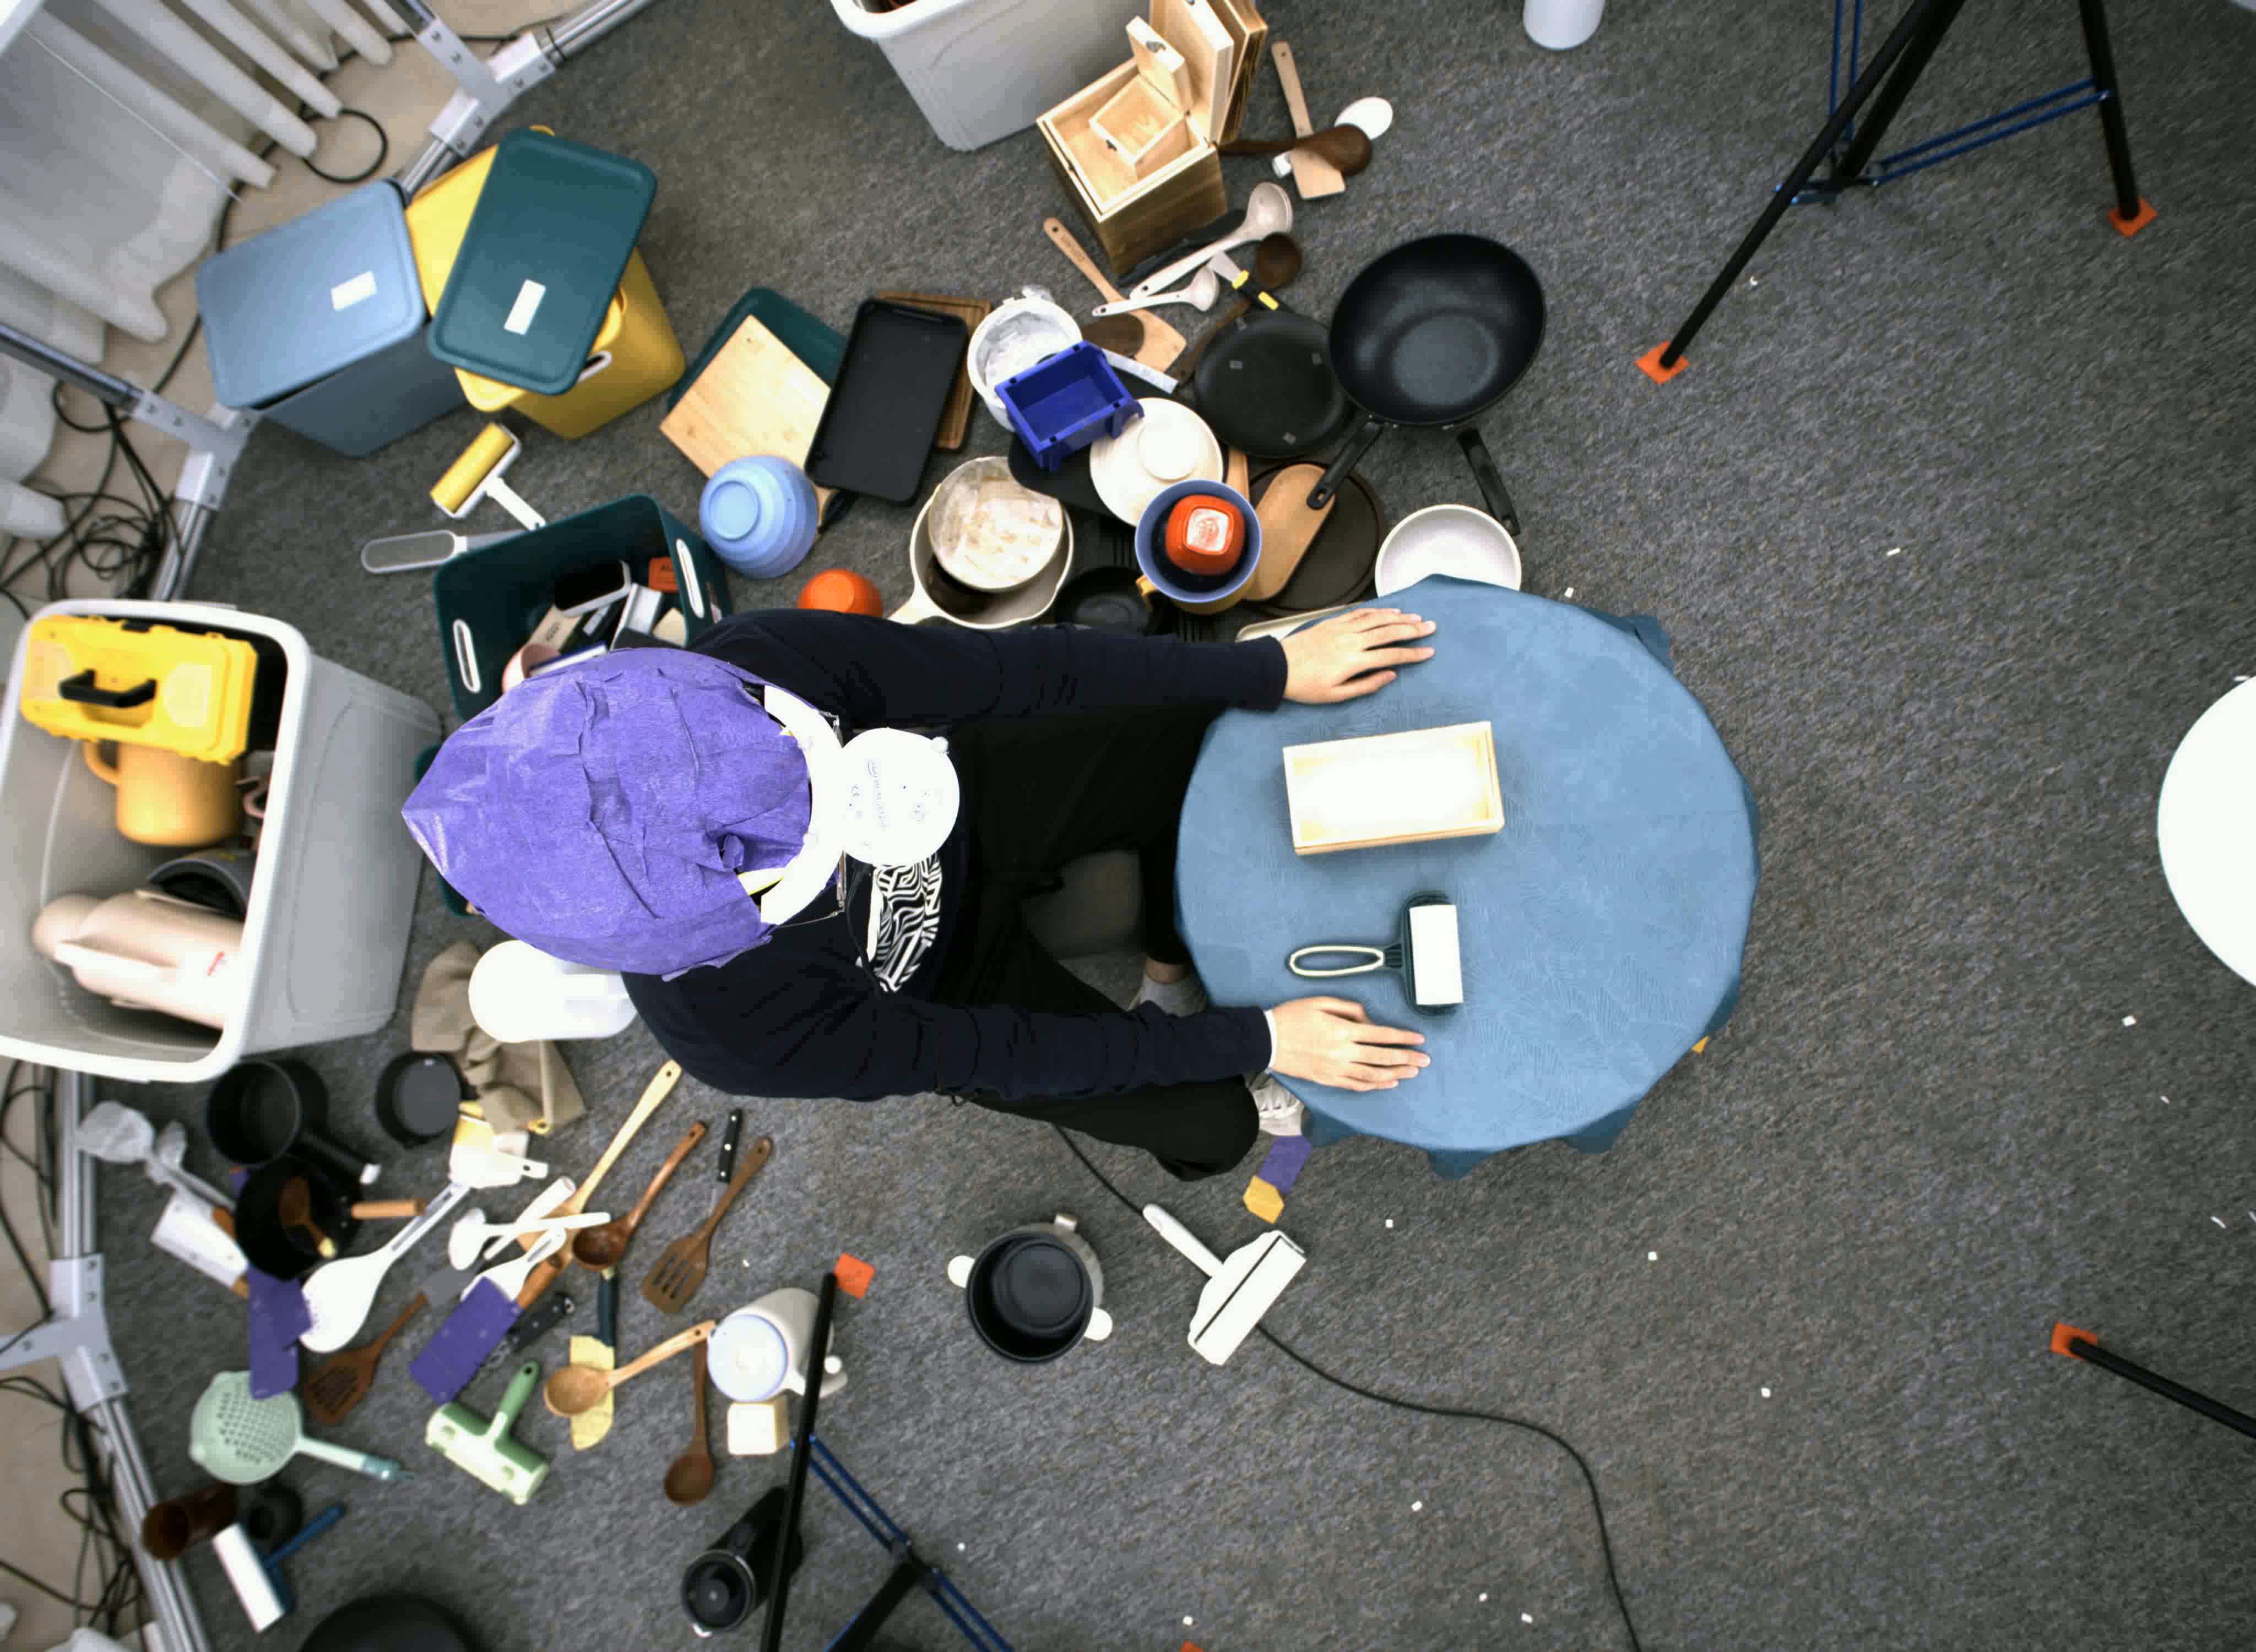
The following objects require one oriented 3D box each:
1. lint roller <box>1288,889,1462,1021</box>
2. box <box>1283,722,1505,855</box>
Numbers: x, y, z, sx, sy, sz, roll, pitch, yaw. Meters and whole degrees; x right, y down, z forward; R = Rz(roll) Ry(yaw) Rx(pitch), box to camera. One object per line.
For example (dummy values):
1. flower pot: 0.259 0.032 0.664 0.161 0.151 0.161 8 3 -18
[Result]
1. lint roller: 0.253 0.137 1.441 0.181 0.048 0.133 -5 86 15
2. box: 0.274 -0.038 1.425 0.212 0.080 0.107 -8 85 12
